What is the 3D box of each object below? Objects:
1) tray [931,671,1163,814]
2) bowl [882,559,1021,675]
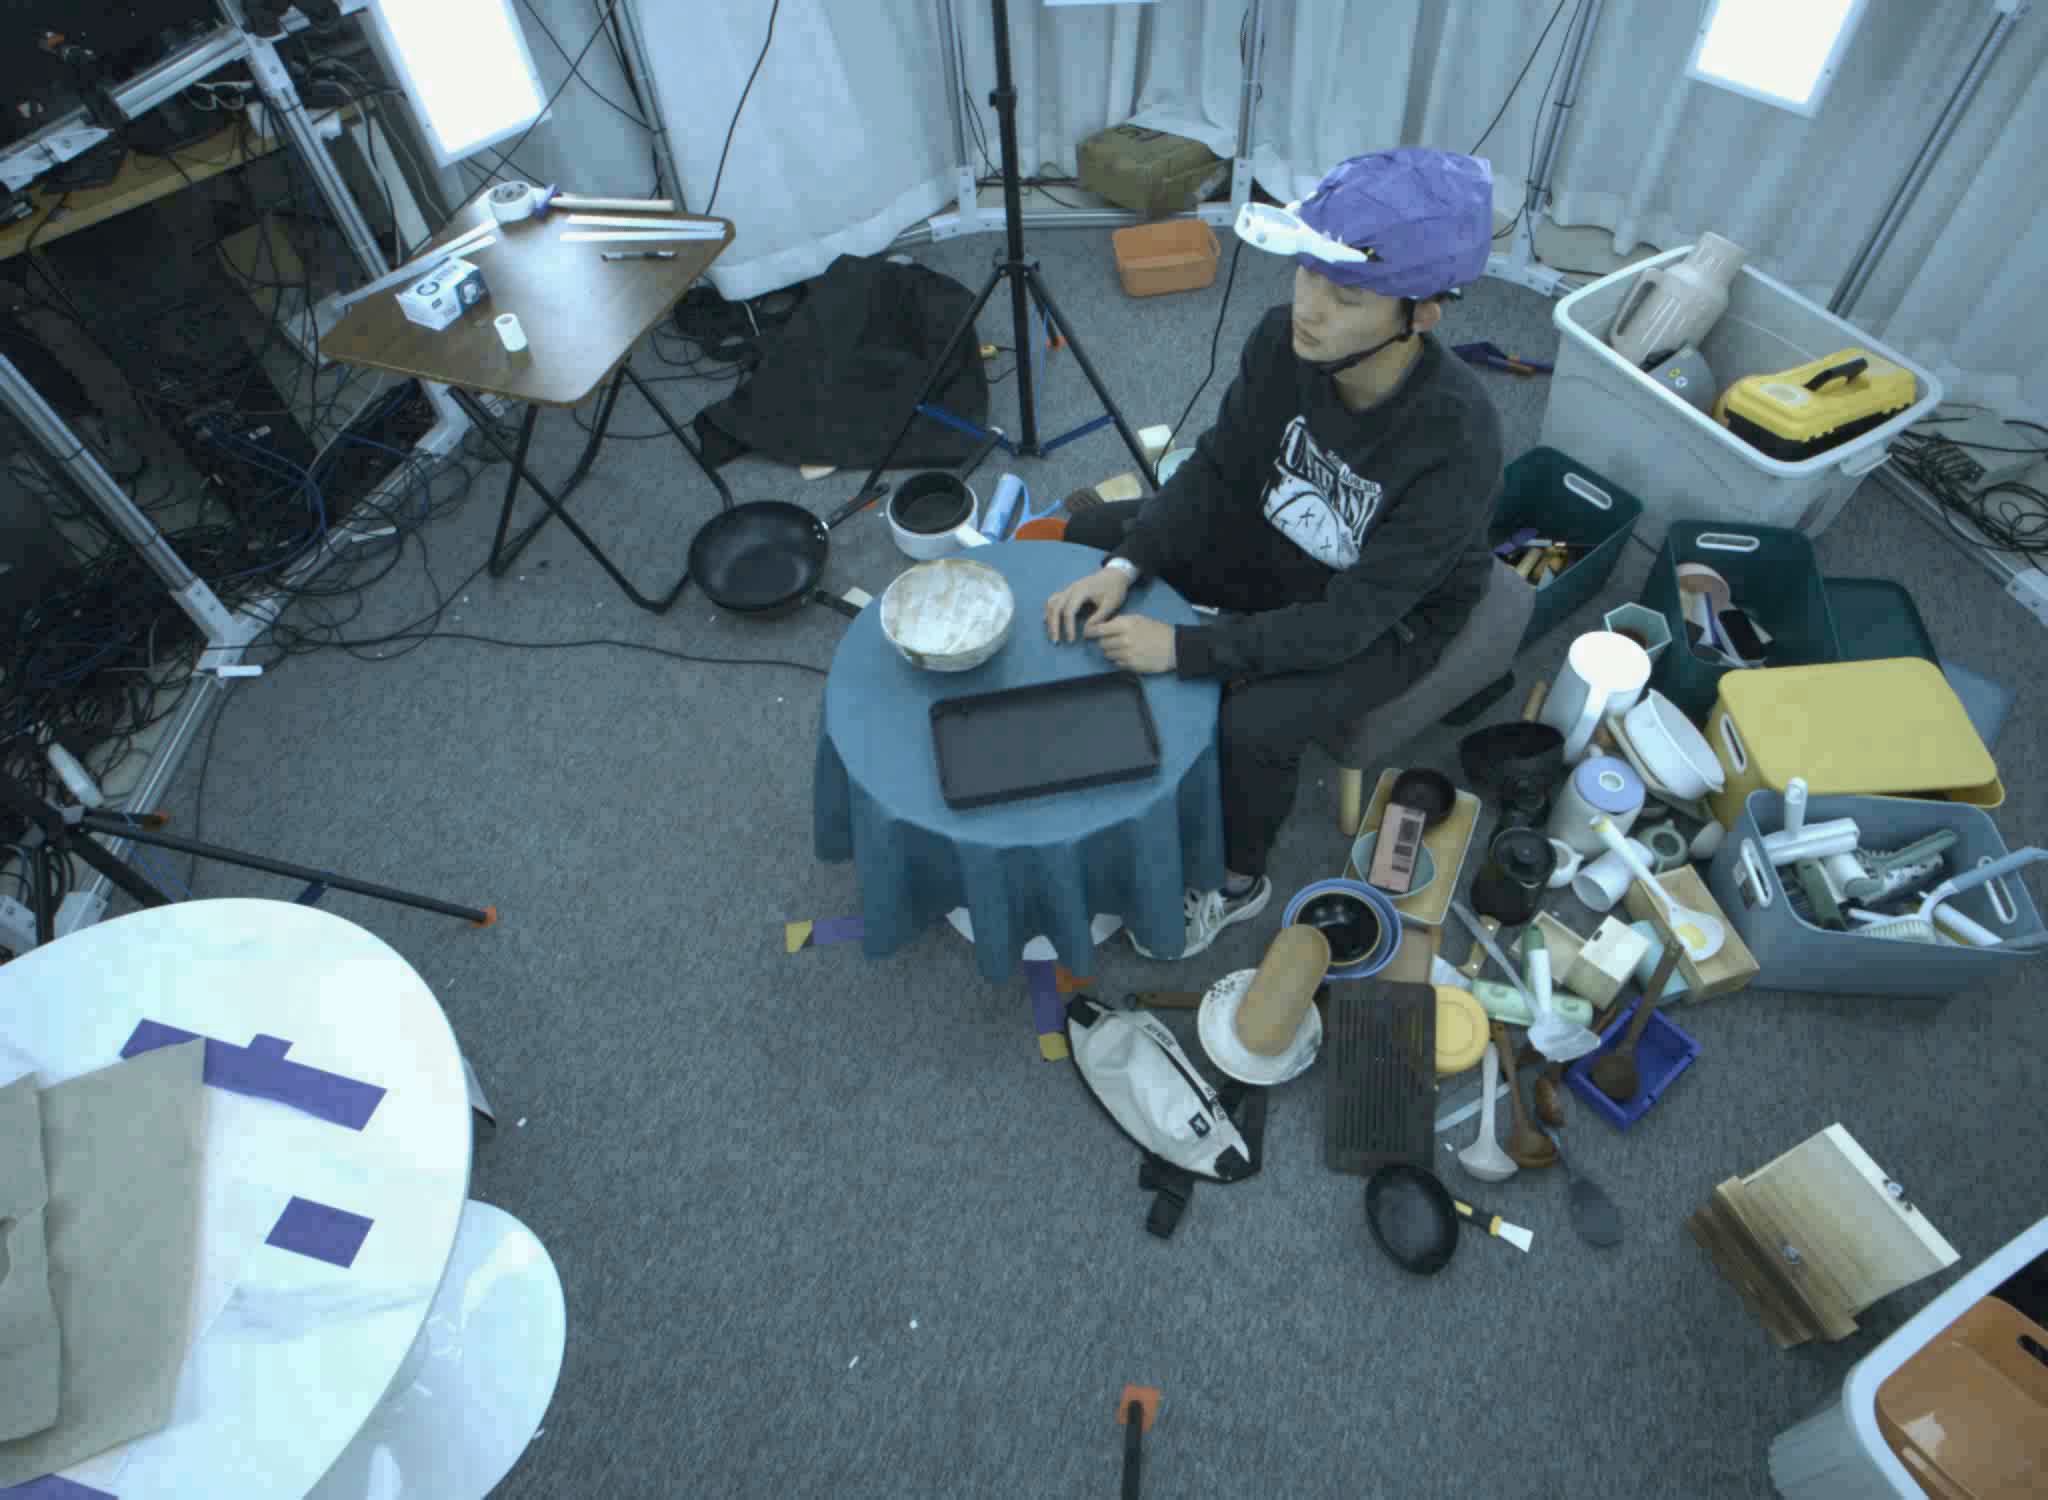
[{"bbox_3d":[0.032,-0.013,1.786,0.319,0.037,0.182,-9,56,-3],"label":"tray"},{"bbox_3d":[-0.107,-0.185,1.874,0.214,0.095,0.212,-1,54,2],"label":"bowl"}]
